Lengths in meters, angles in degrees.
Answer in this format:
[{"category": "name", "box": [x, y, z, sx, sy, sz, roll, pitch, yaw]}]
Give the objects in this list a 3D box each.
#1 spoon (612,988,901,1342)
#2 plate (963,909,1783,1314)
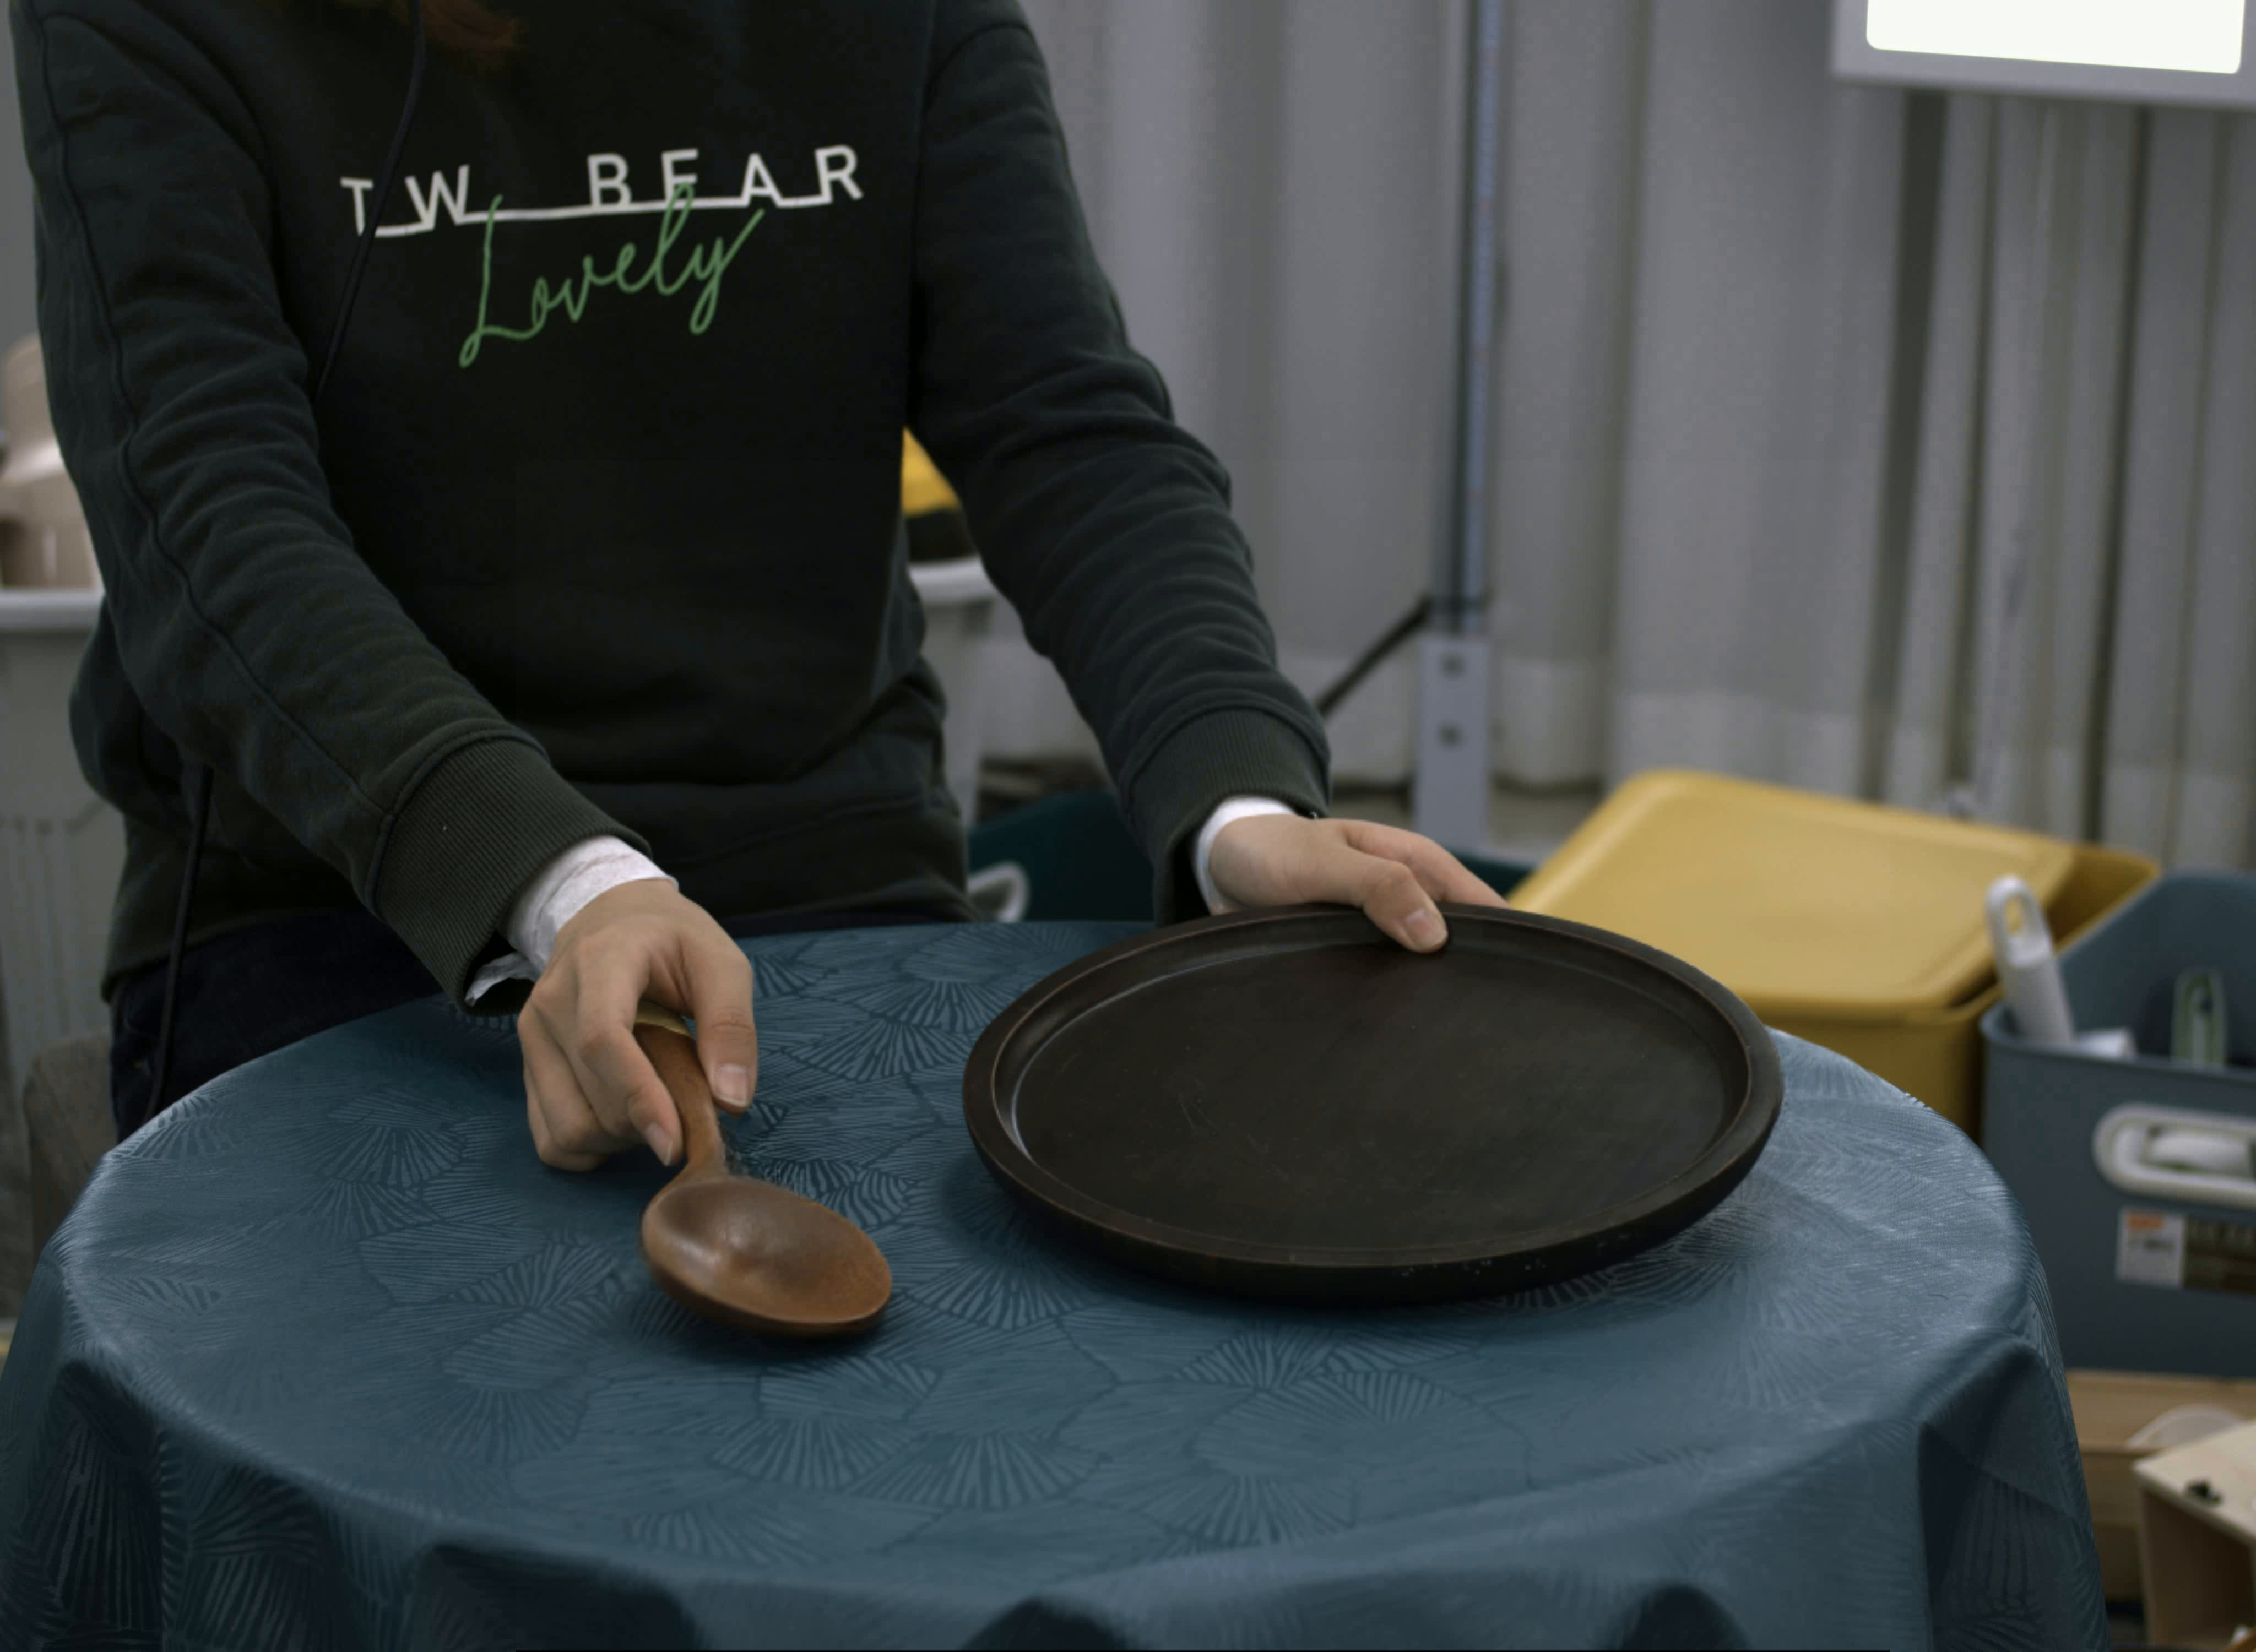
[{"category": "spoon", "box": [-0.122, 0.102, 1.573, 0.076, 0.017, 0.213, 6, 23, -21]}, {"category": "plate", "box": [0.075, 0.085, 1.627, 0.254, 0.029, 0.253, 0, 25, 1]}]
